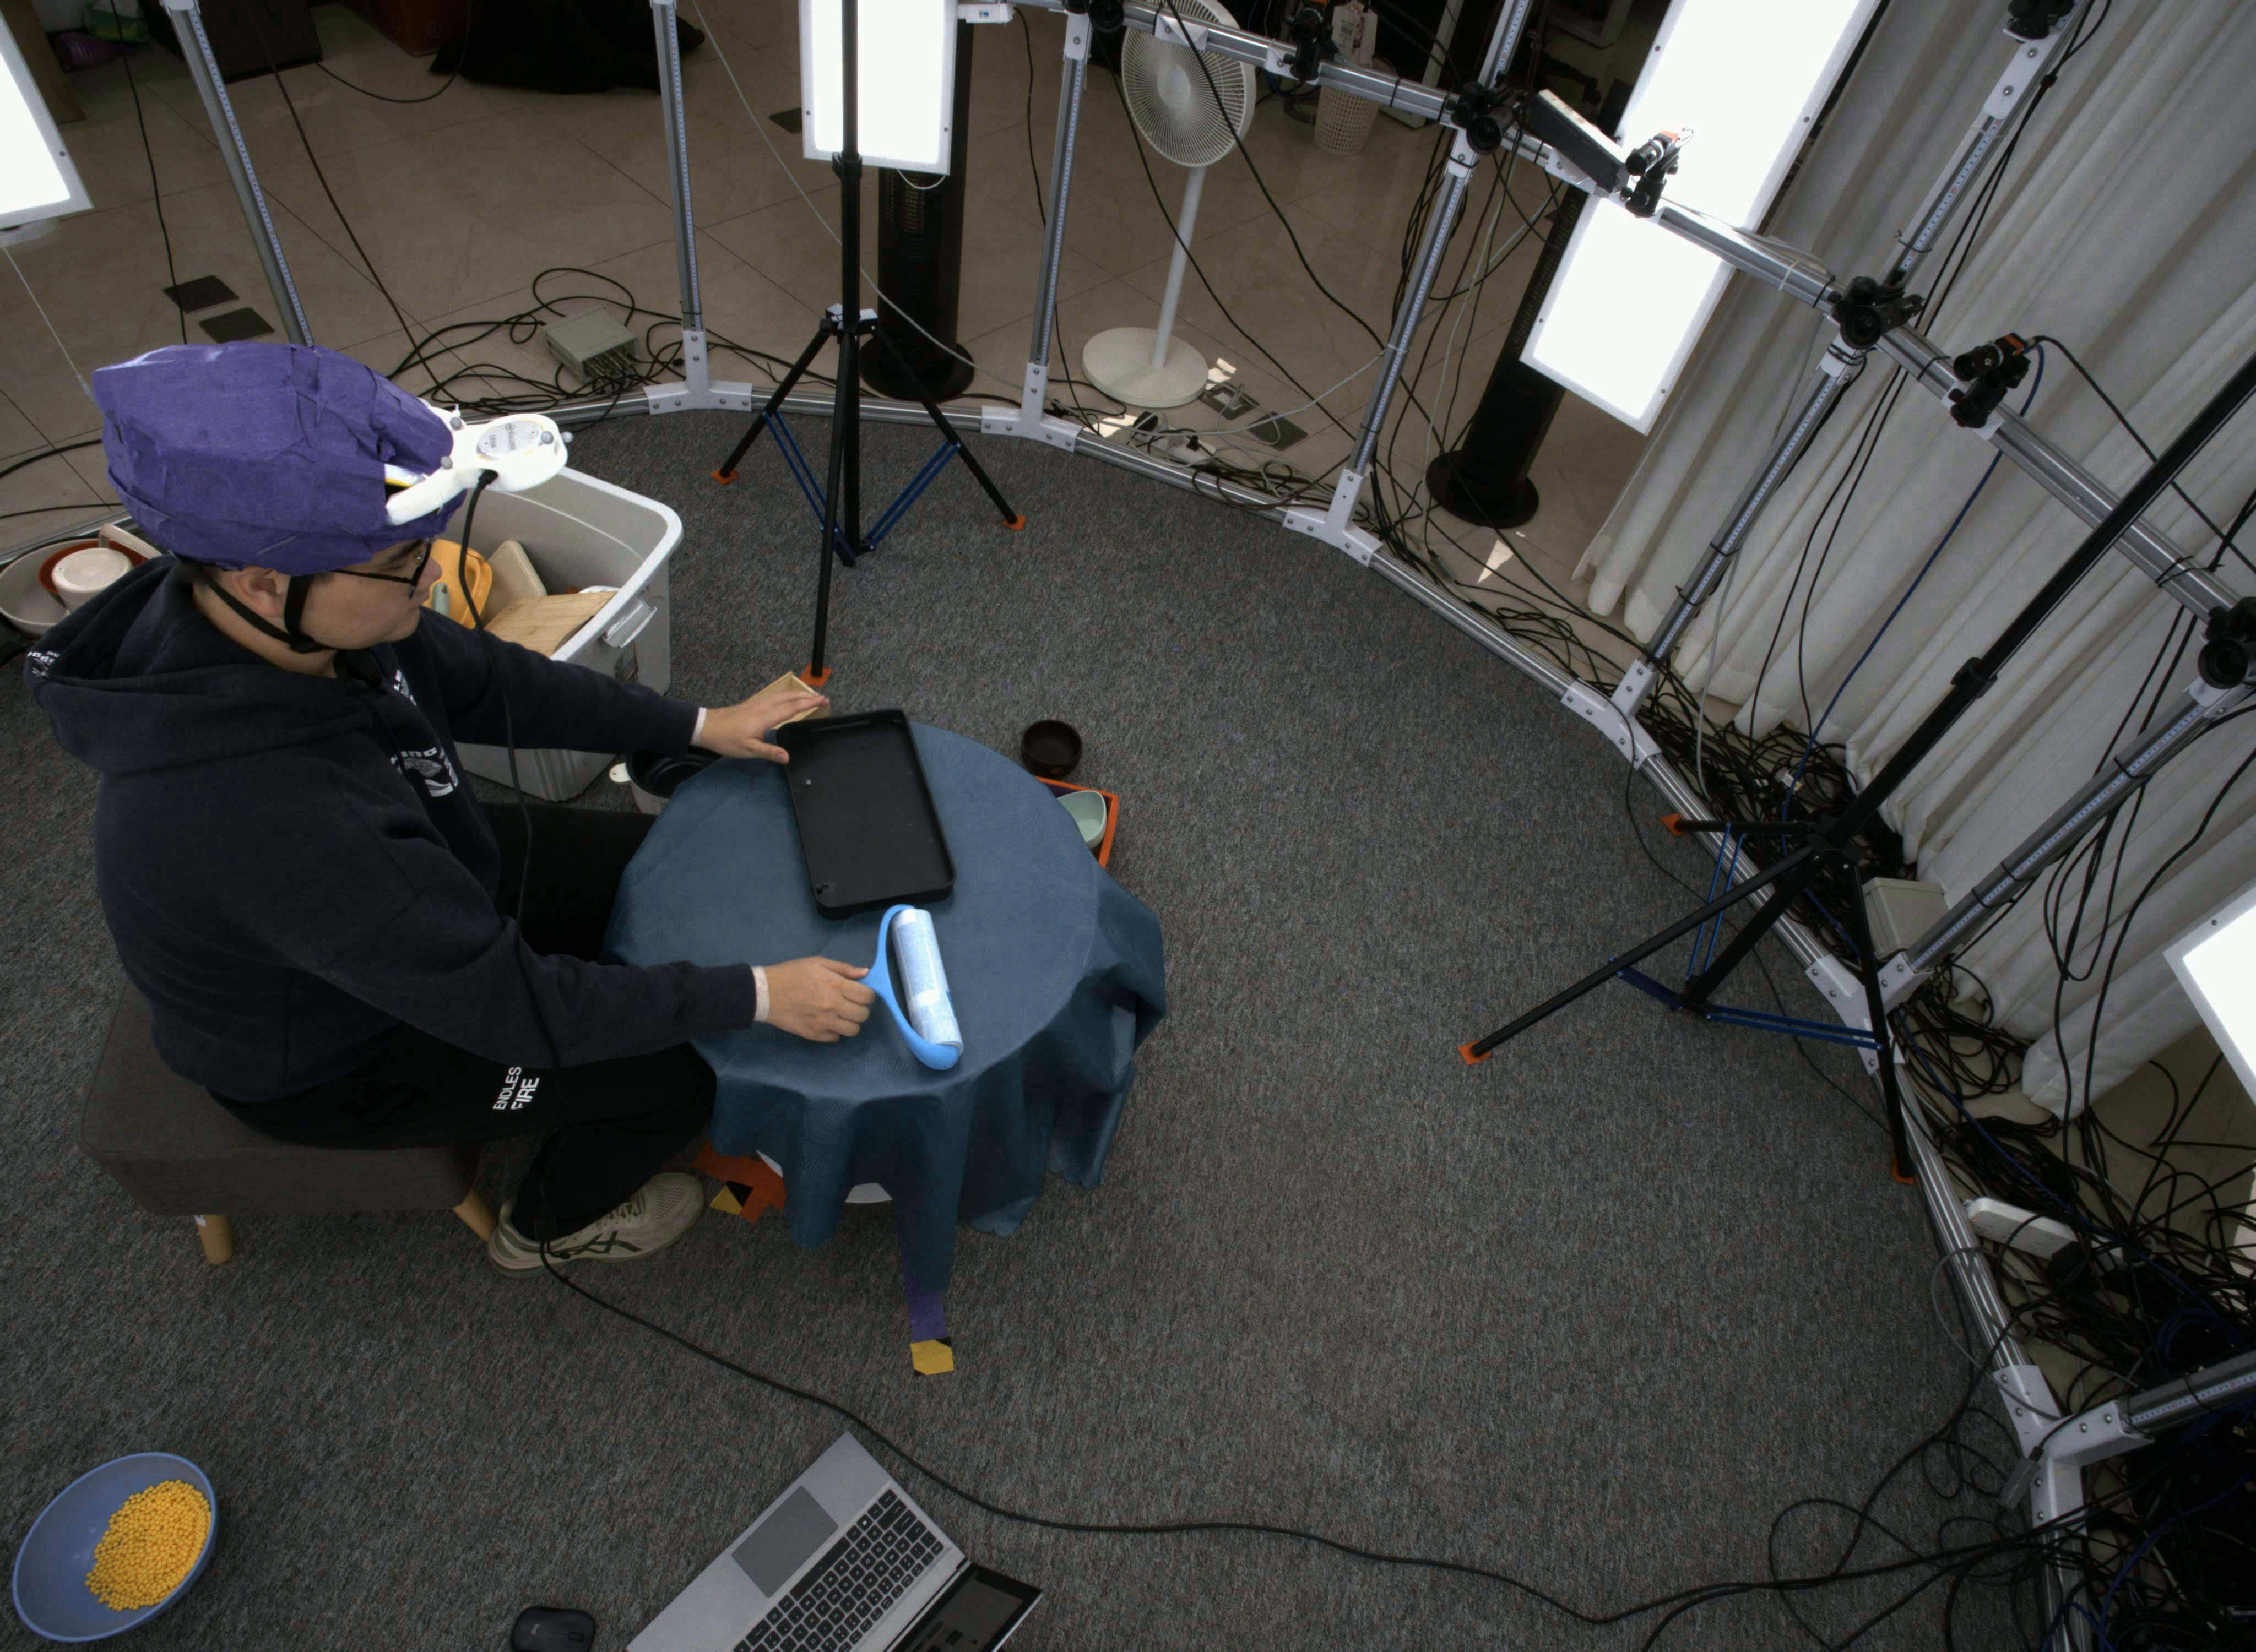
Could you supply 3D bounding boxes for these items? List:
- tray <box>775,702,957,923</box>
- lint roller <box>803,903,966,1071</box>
[{"bbox_3d":[-0.354,-0.025,1.737,0.185,0.038,0.311,-10,60,-21],"label":"tray"},{"bbox_3d":[-0.299,0.199,1.563,0.181,0.069,0.224,-8,58,-22],"label":"lint roller"}]
